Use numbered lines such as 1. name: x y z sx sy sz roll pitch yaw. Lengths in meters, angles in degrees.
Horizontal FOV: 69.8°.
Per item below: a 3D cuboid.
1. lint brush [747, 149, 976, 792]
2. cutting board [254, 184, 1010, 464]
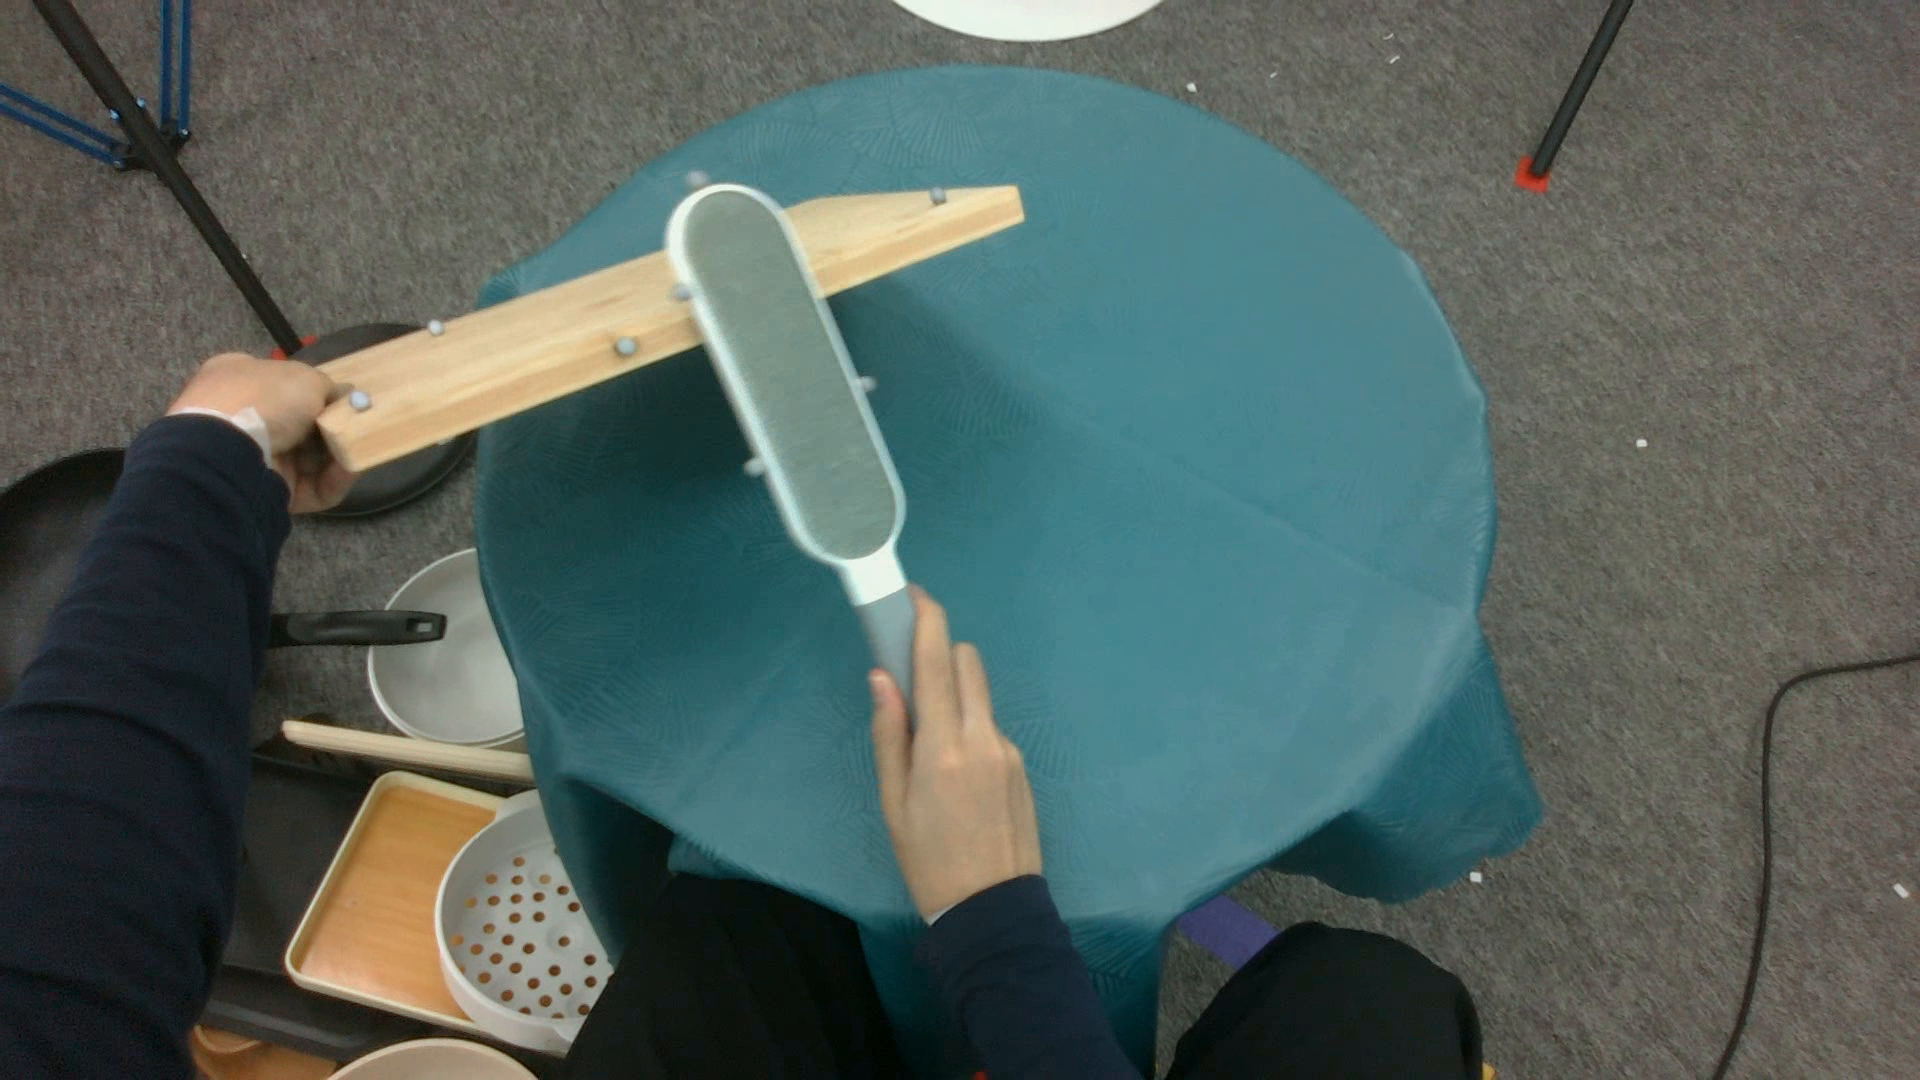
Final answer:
1. lint brush: -0.040 -0.028 0.642 0.060 0.021 0.308 -19 98 -32
2. cutting board: -0.175 -0.128 0.719 0.350 0.023 0.250 -26 24 -26
